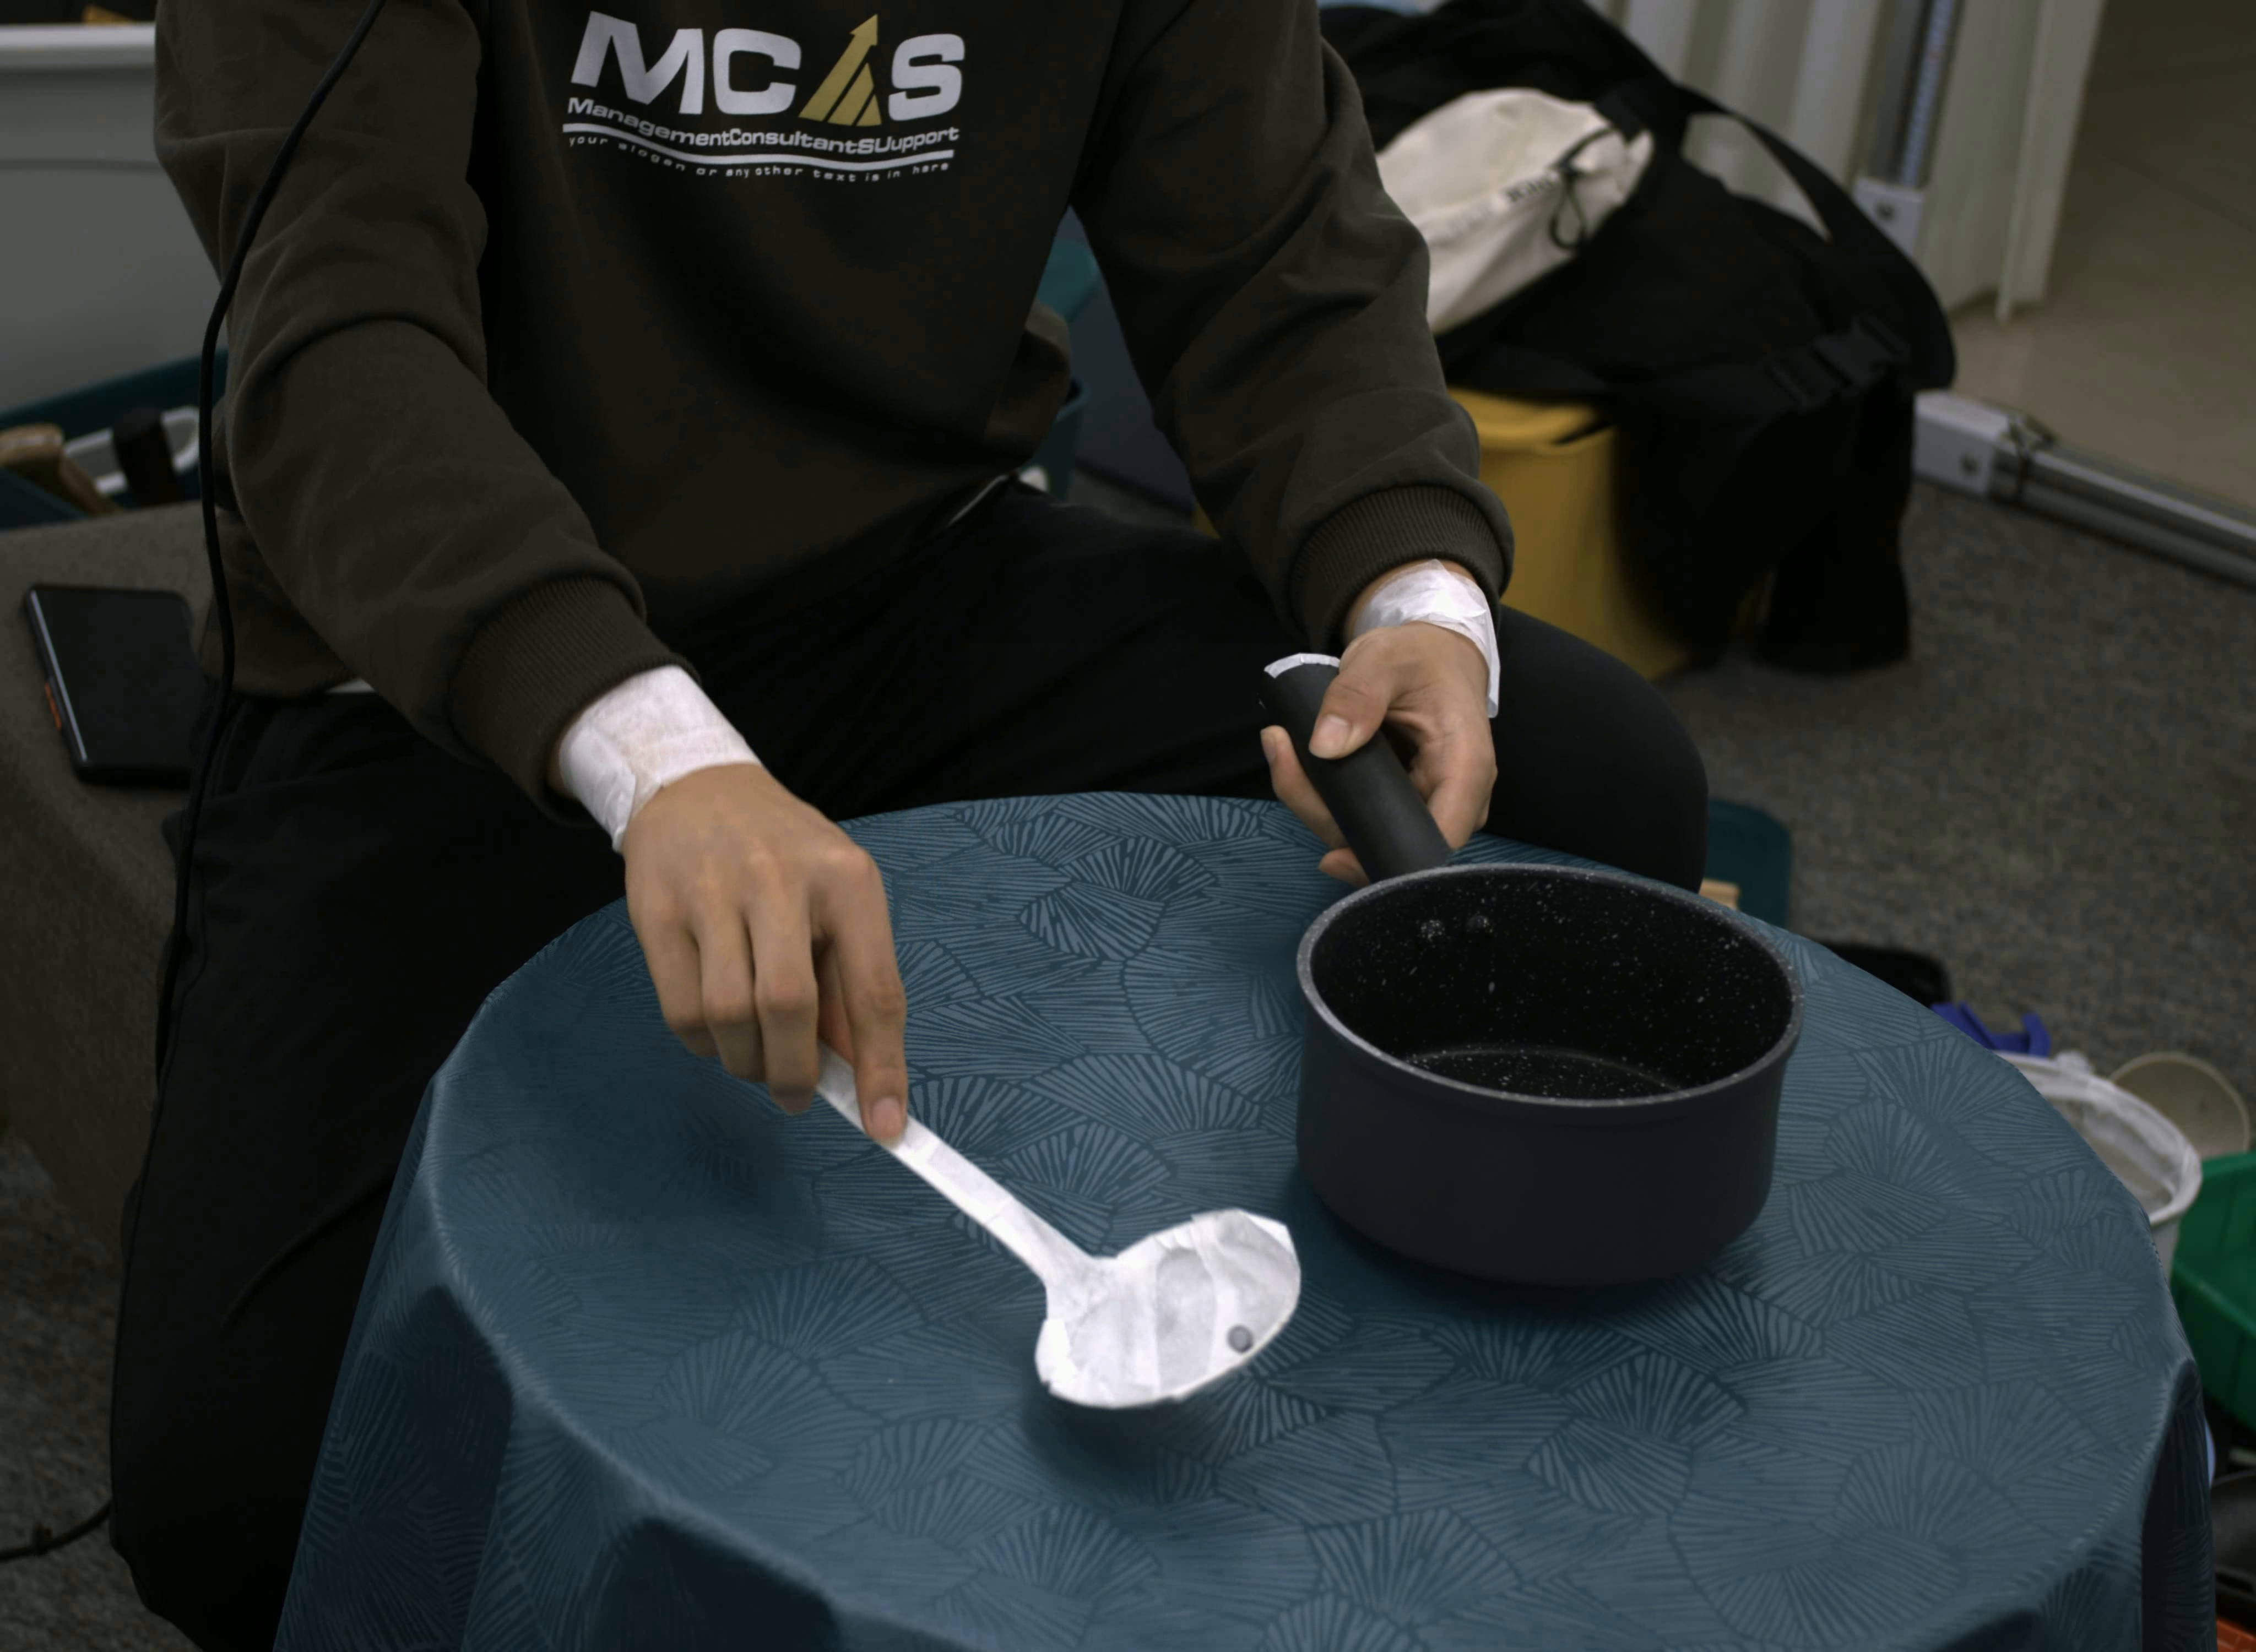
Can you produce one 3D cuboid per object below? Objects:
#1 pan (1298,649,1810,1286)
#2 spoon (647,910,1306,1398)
[{"bbox_3d":[0.119,0.046,1.866,0.171,0.086,0.331,-4,28,-16],"label":"pan"},{"bbox_3d":[-0.056,0.092,1.717,0.100,0.059,0.279,-34,61,-31],"label":"spoon"}]
